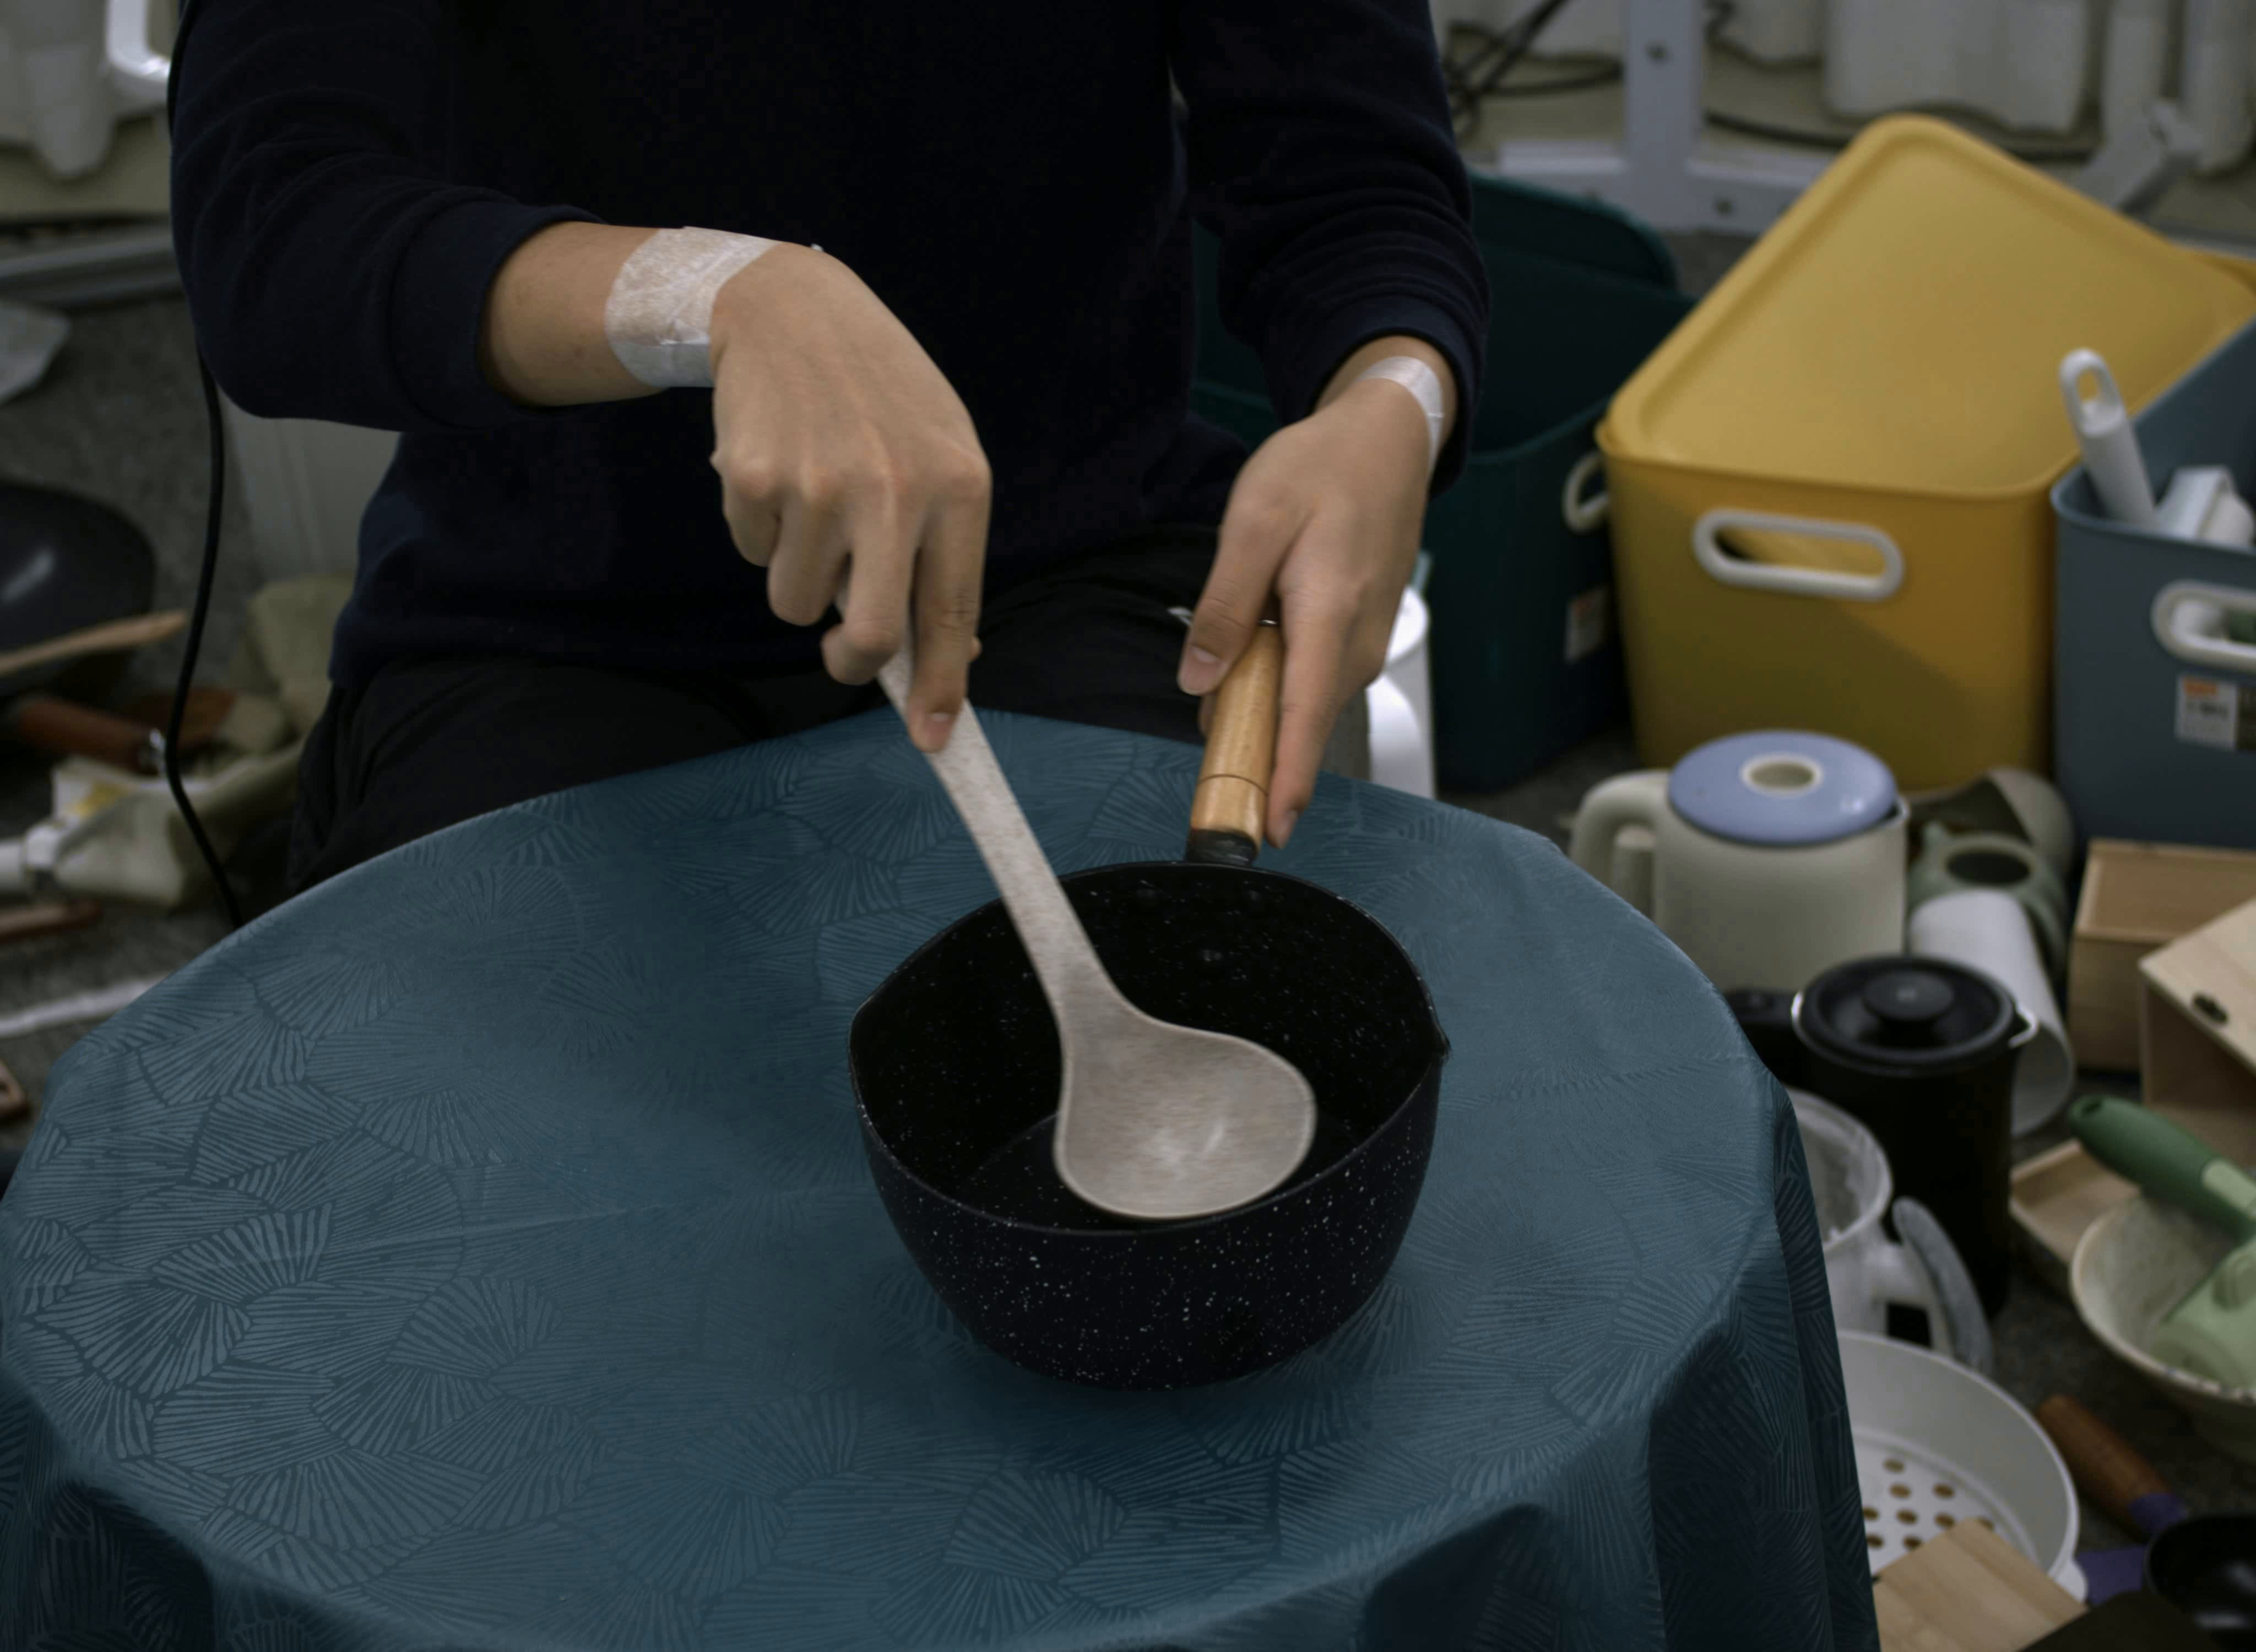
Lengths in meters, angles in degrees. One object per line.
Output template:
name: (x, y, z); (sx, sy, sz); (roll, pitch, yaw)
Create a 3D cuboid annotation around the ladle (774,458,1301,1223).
ladle: (-0.034, 0.003, 1.796); (0.090, 0.274, 0.069); (-30, 8, -25)

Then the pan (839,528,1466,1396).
pan: (0.024, 0.042, 1.847); (0.206, 0.107, 0.350); (1, 38, 14)
